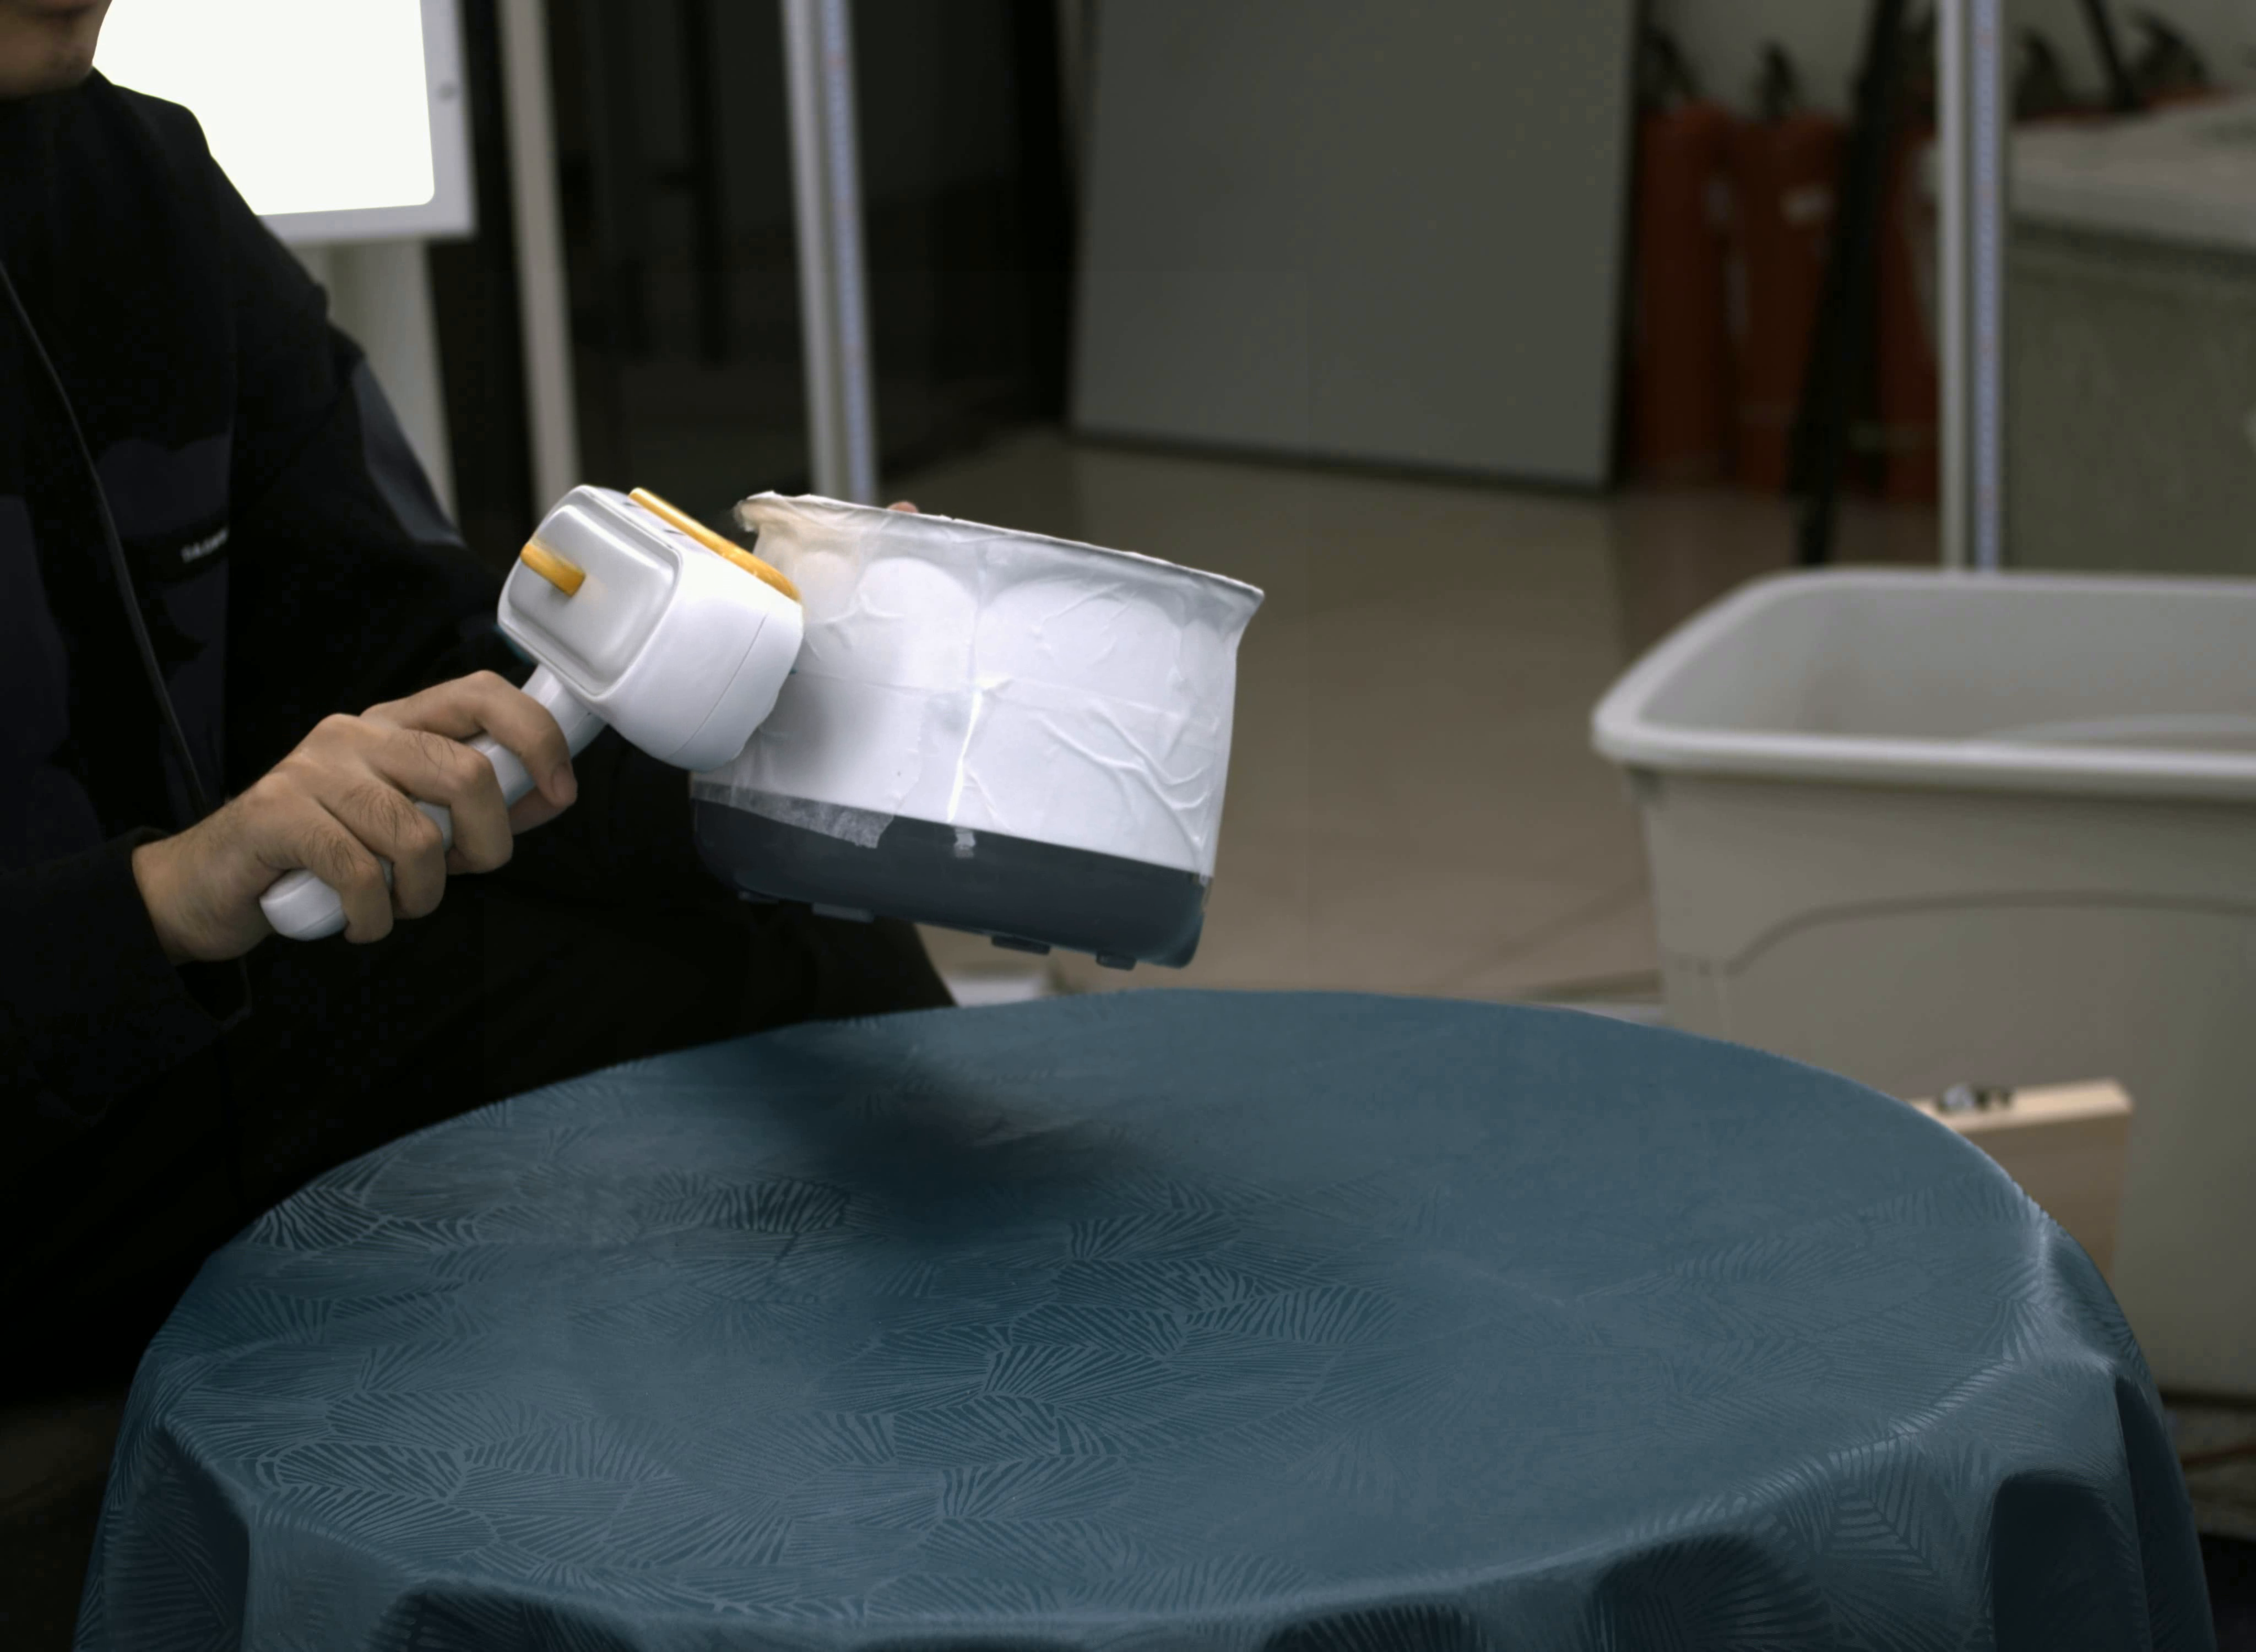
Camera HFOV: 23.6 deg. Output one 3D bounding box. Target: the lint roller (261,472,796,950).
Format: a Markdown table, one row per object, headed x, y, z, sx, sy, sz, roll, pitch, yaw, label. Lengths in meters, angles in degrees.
| x | y | z | sx | sy | sz | roll | pitch | yaw | label |
| --- | --- | --- | --- | --- | --- | --- | --- | --- | --- |
| -0.199 | -0.028 | 1.744 | 0.192 | 0.073 | 0.195 | -52 | 25 | -6 | lint roller |

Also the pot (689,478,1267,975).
| x | y | z | sx | sy | sz | roll | pitch | yaw | label |
| --- | --- | --- | --- | --- | --- | --- | --- | --- | --- |
| -0.062 | -0.033 | 1.815 | 0.175 | 0.138 | 0.236 | 13 | -2 | -20 | pot |
